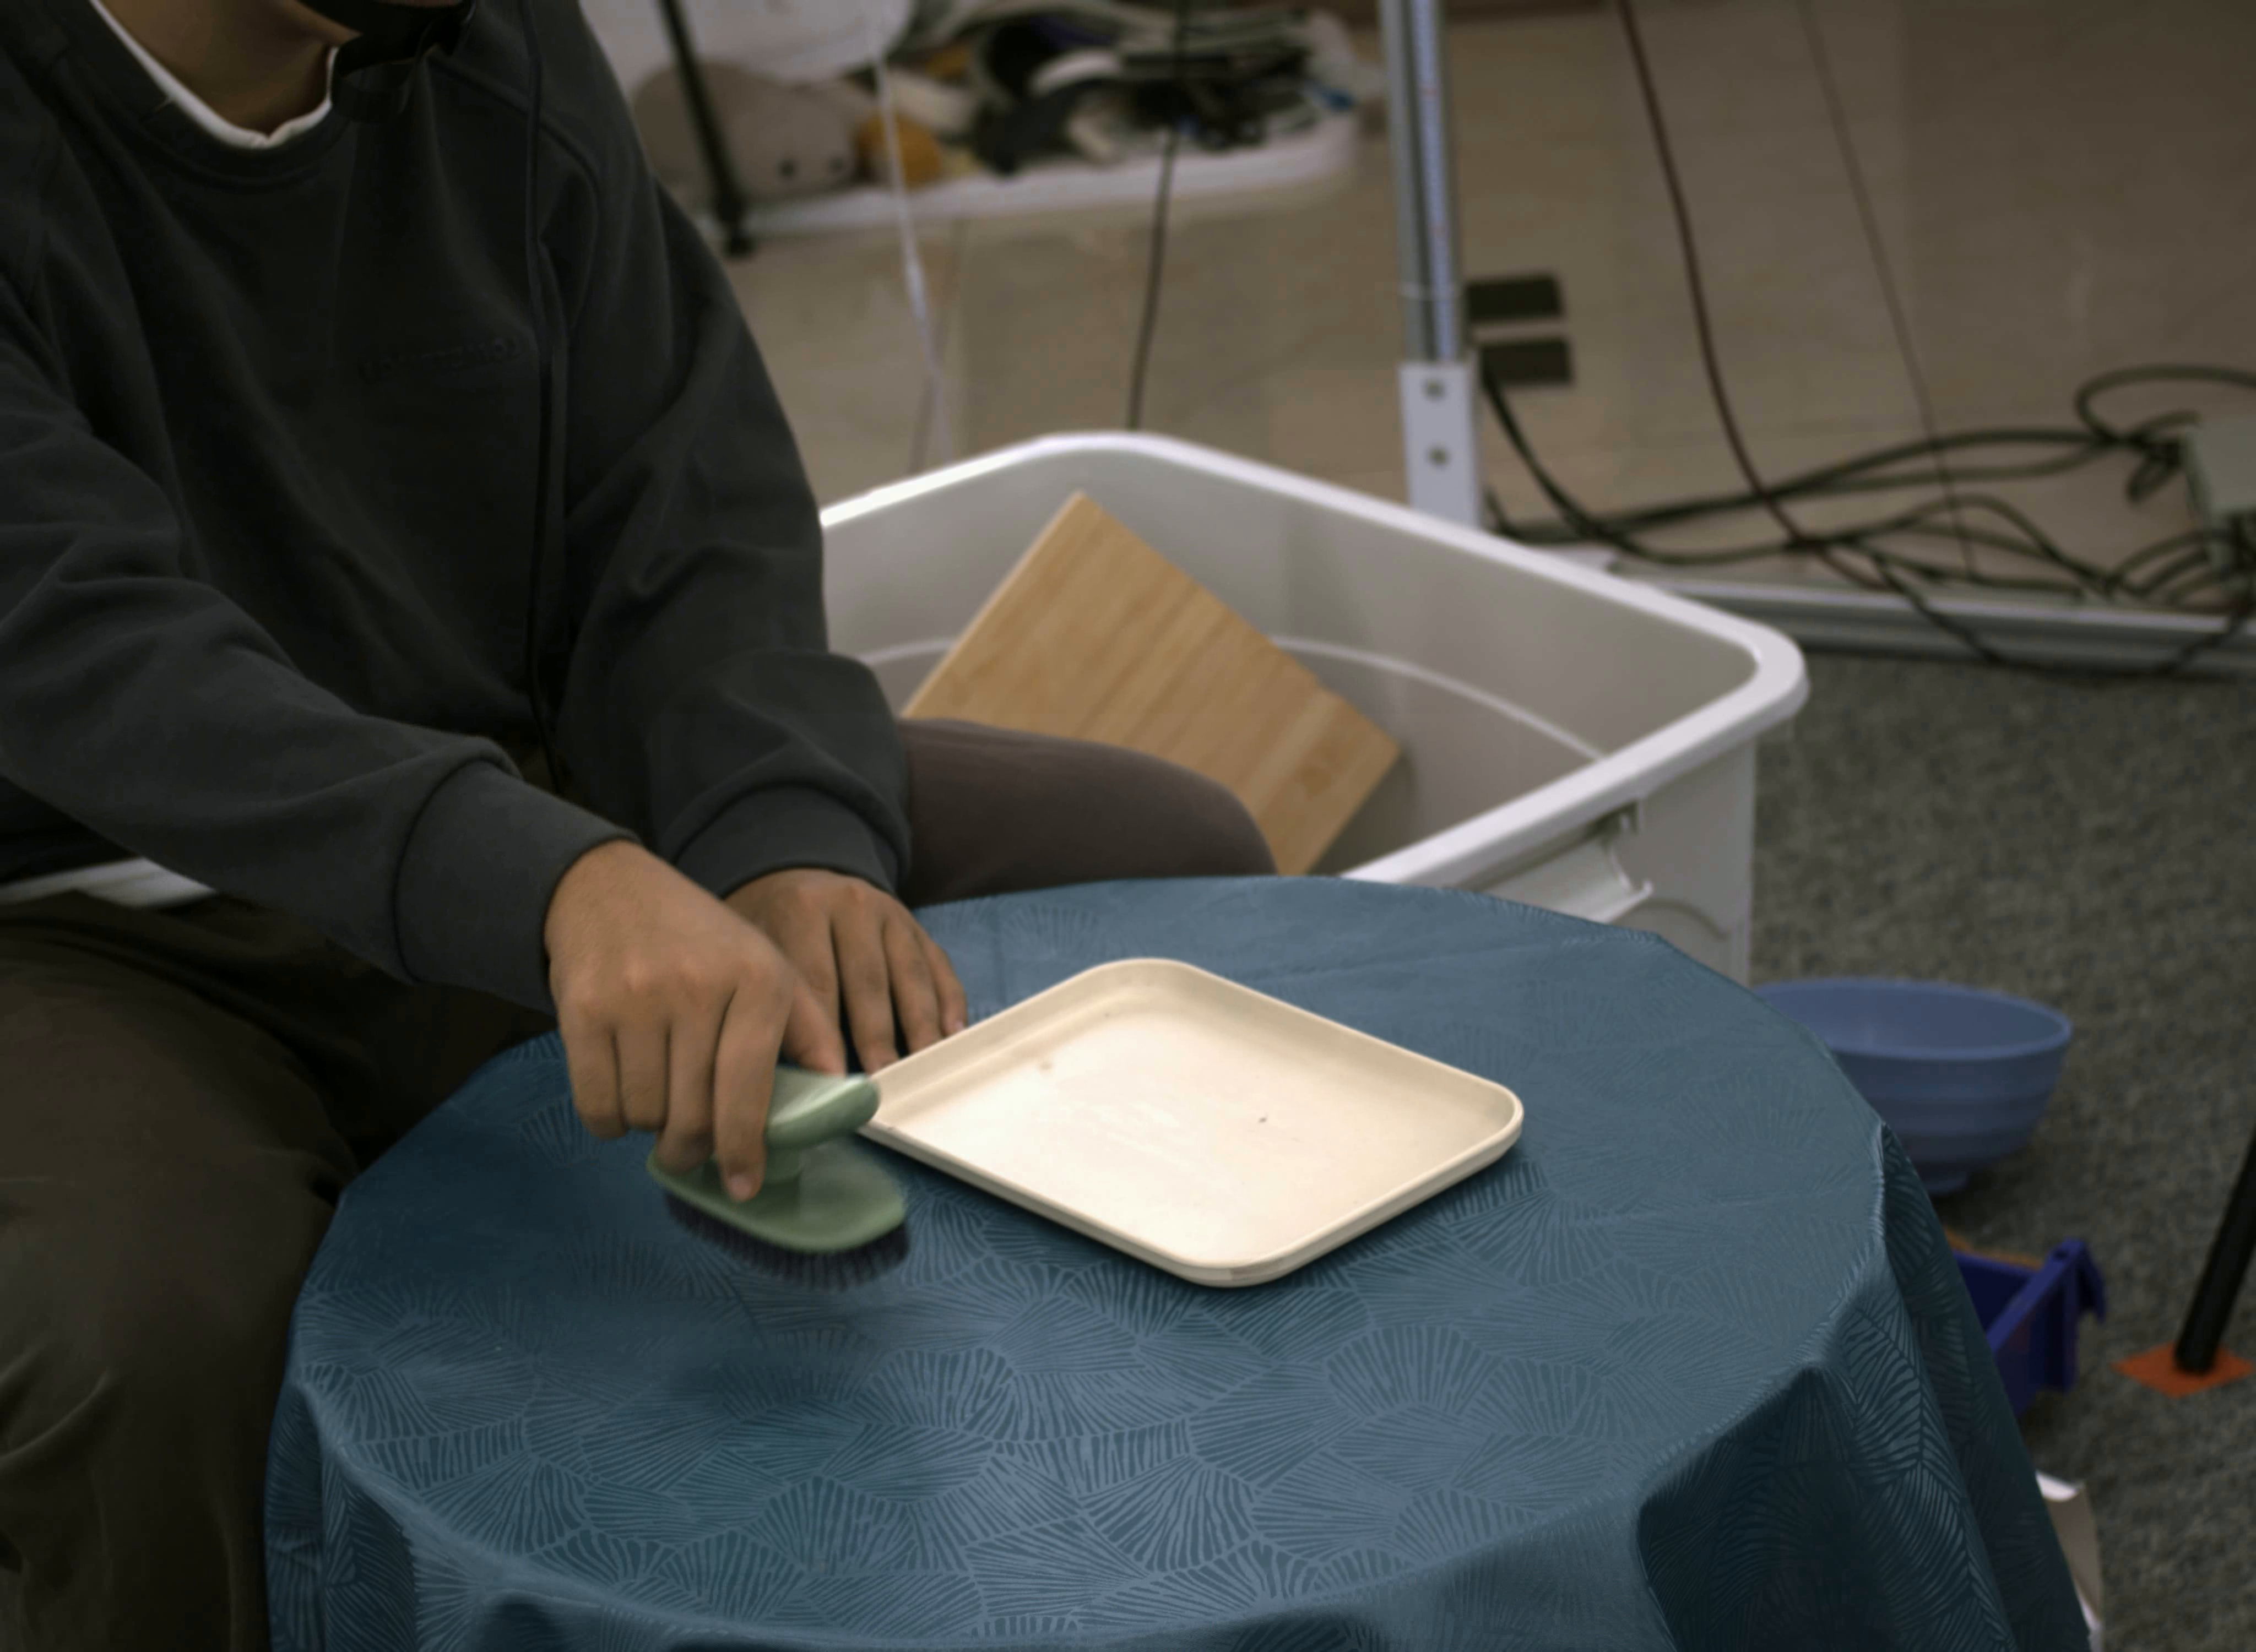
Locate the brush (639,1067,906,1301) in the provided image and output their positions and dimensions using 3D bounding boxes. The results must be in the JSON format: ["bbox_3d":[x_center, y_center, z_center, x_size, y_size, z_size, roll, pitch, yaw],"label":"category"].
[{"bbox_3d":[-0.129,0.128,2.064,0.059,0.076,0.122,-26,19,-35],"label":"brush"}]

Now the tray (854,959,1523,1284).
[{"bbox_3d":[0.021,0.113,2.178,0.170,0.018,0.237,-24,30,-35],"label":"tray"}]
